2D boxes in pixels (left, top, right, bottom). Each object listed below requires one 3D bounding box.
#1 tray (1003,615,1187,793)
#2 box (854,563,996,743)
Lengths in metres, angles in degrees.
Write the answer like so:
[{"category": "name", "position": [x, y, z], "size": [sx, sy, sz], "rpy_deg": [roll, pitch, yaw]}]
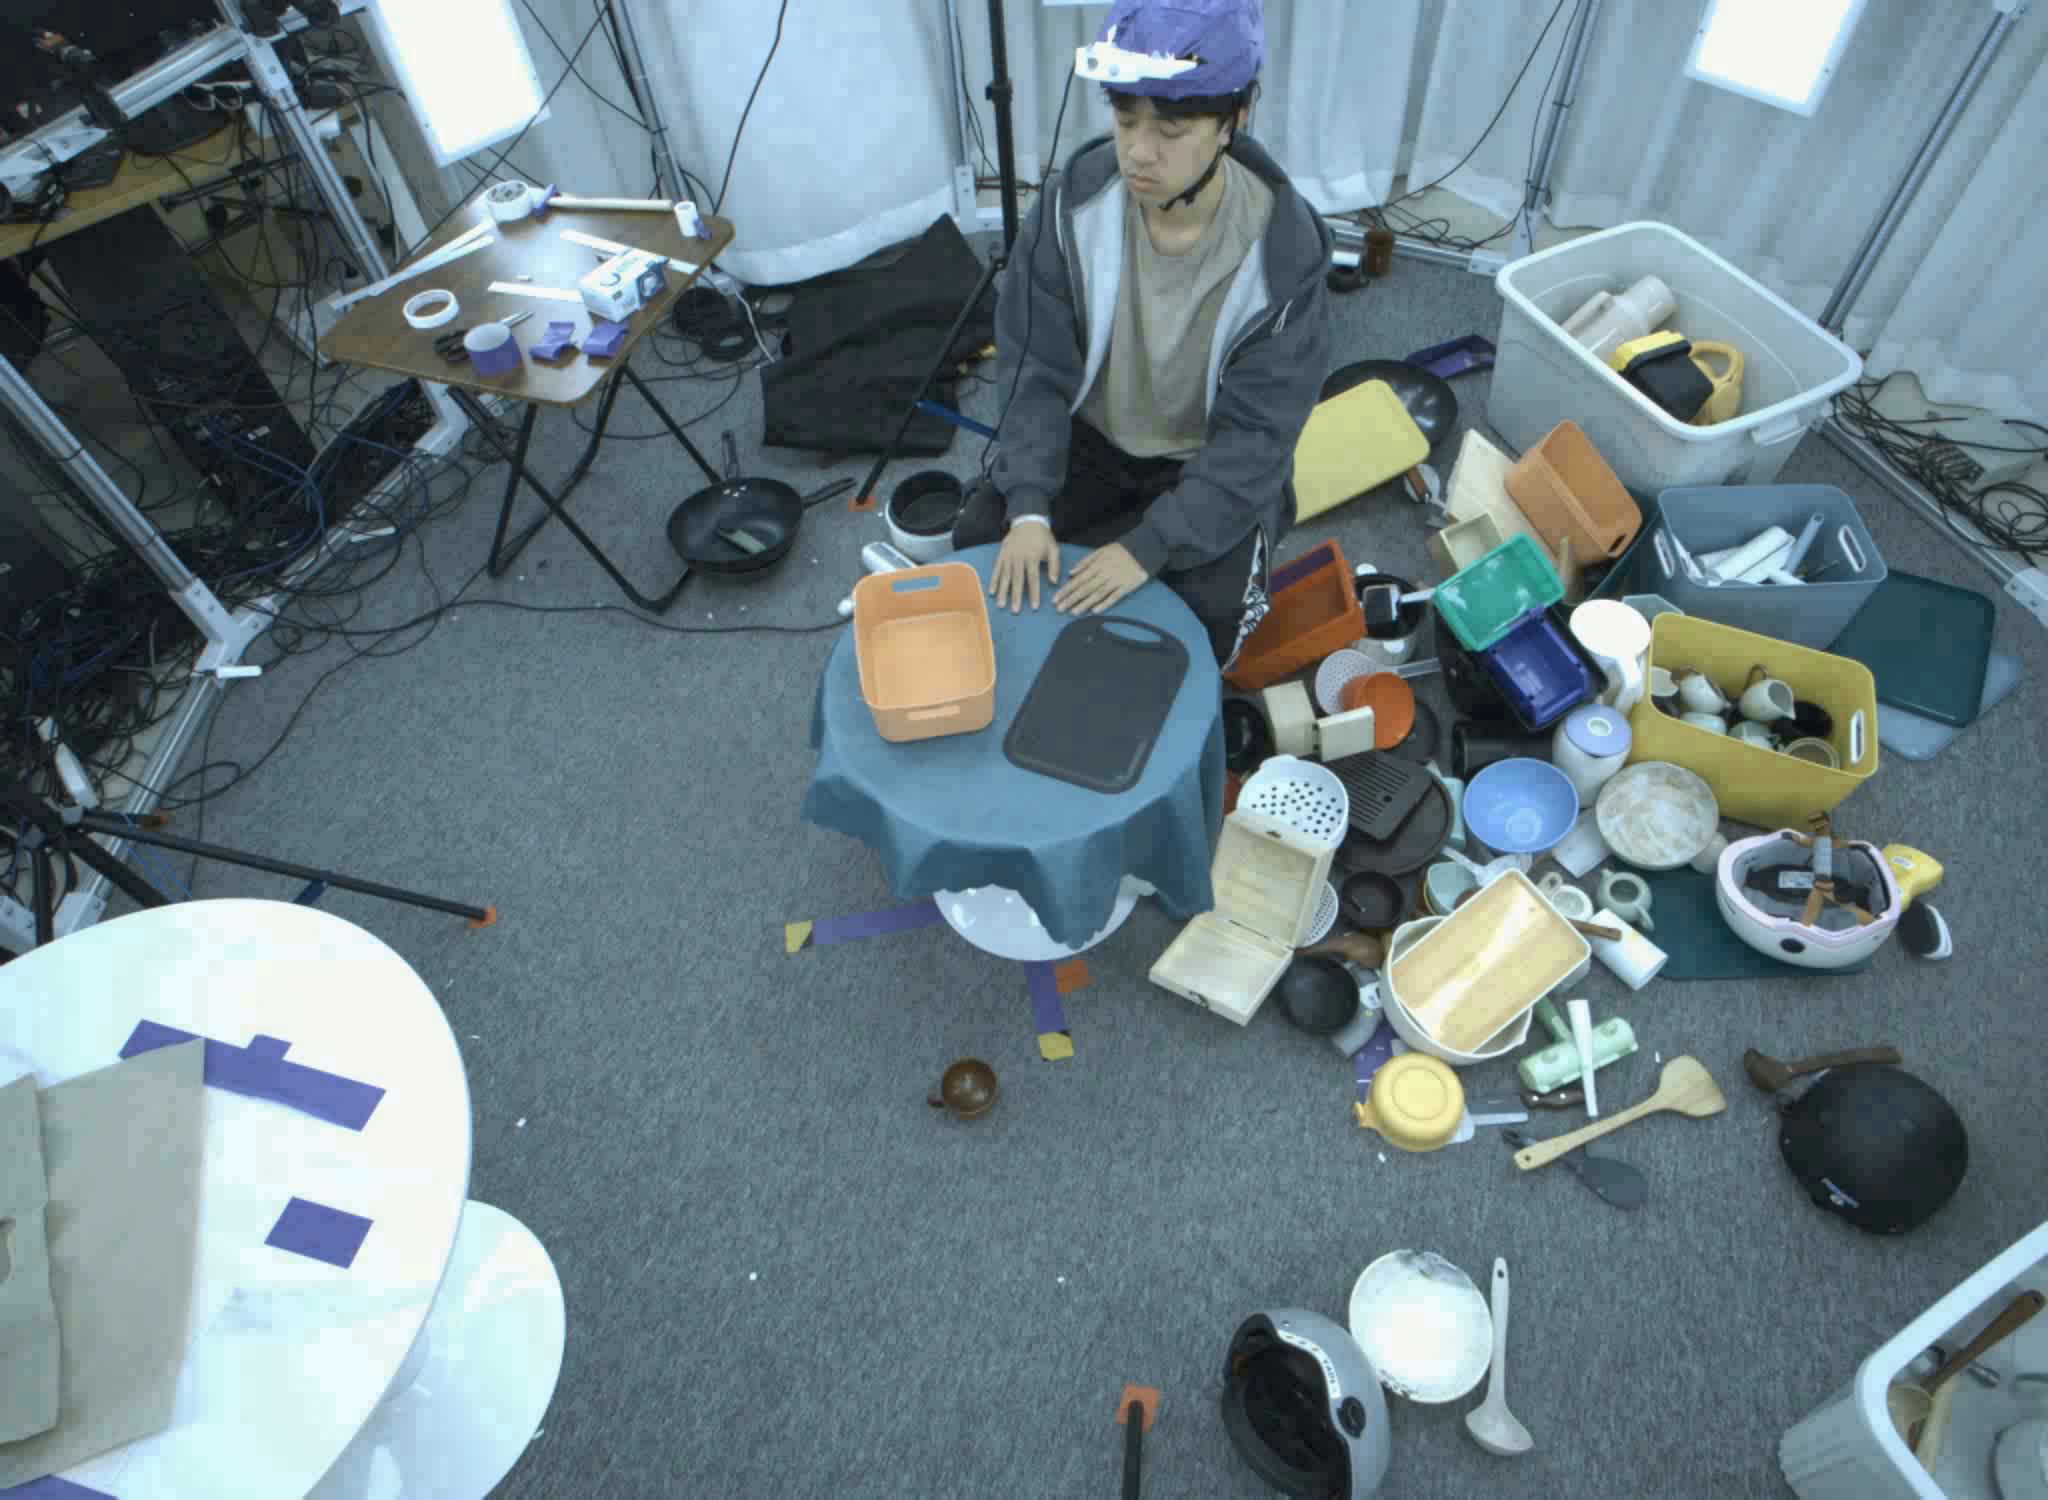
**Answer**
[{"category": "tray", "position": [0.112, -0.082, 1.841], "size": [0.209, 0.010, 0.325], "rpy_deg": [18, 57, 14]}, {"category": "box", "position": [-0.145, -0.143, 1.832], "size": [0.200, 0.104, 0.269], "rpy_deg": [-9, 55, -4]}]
